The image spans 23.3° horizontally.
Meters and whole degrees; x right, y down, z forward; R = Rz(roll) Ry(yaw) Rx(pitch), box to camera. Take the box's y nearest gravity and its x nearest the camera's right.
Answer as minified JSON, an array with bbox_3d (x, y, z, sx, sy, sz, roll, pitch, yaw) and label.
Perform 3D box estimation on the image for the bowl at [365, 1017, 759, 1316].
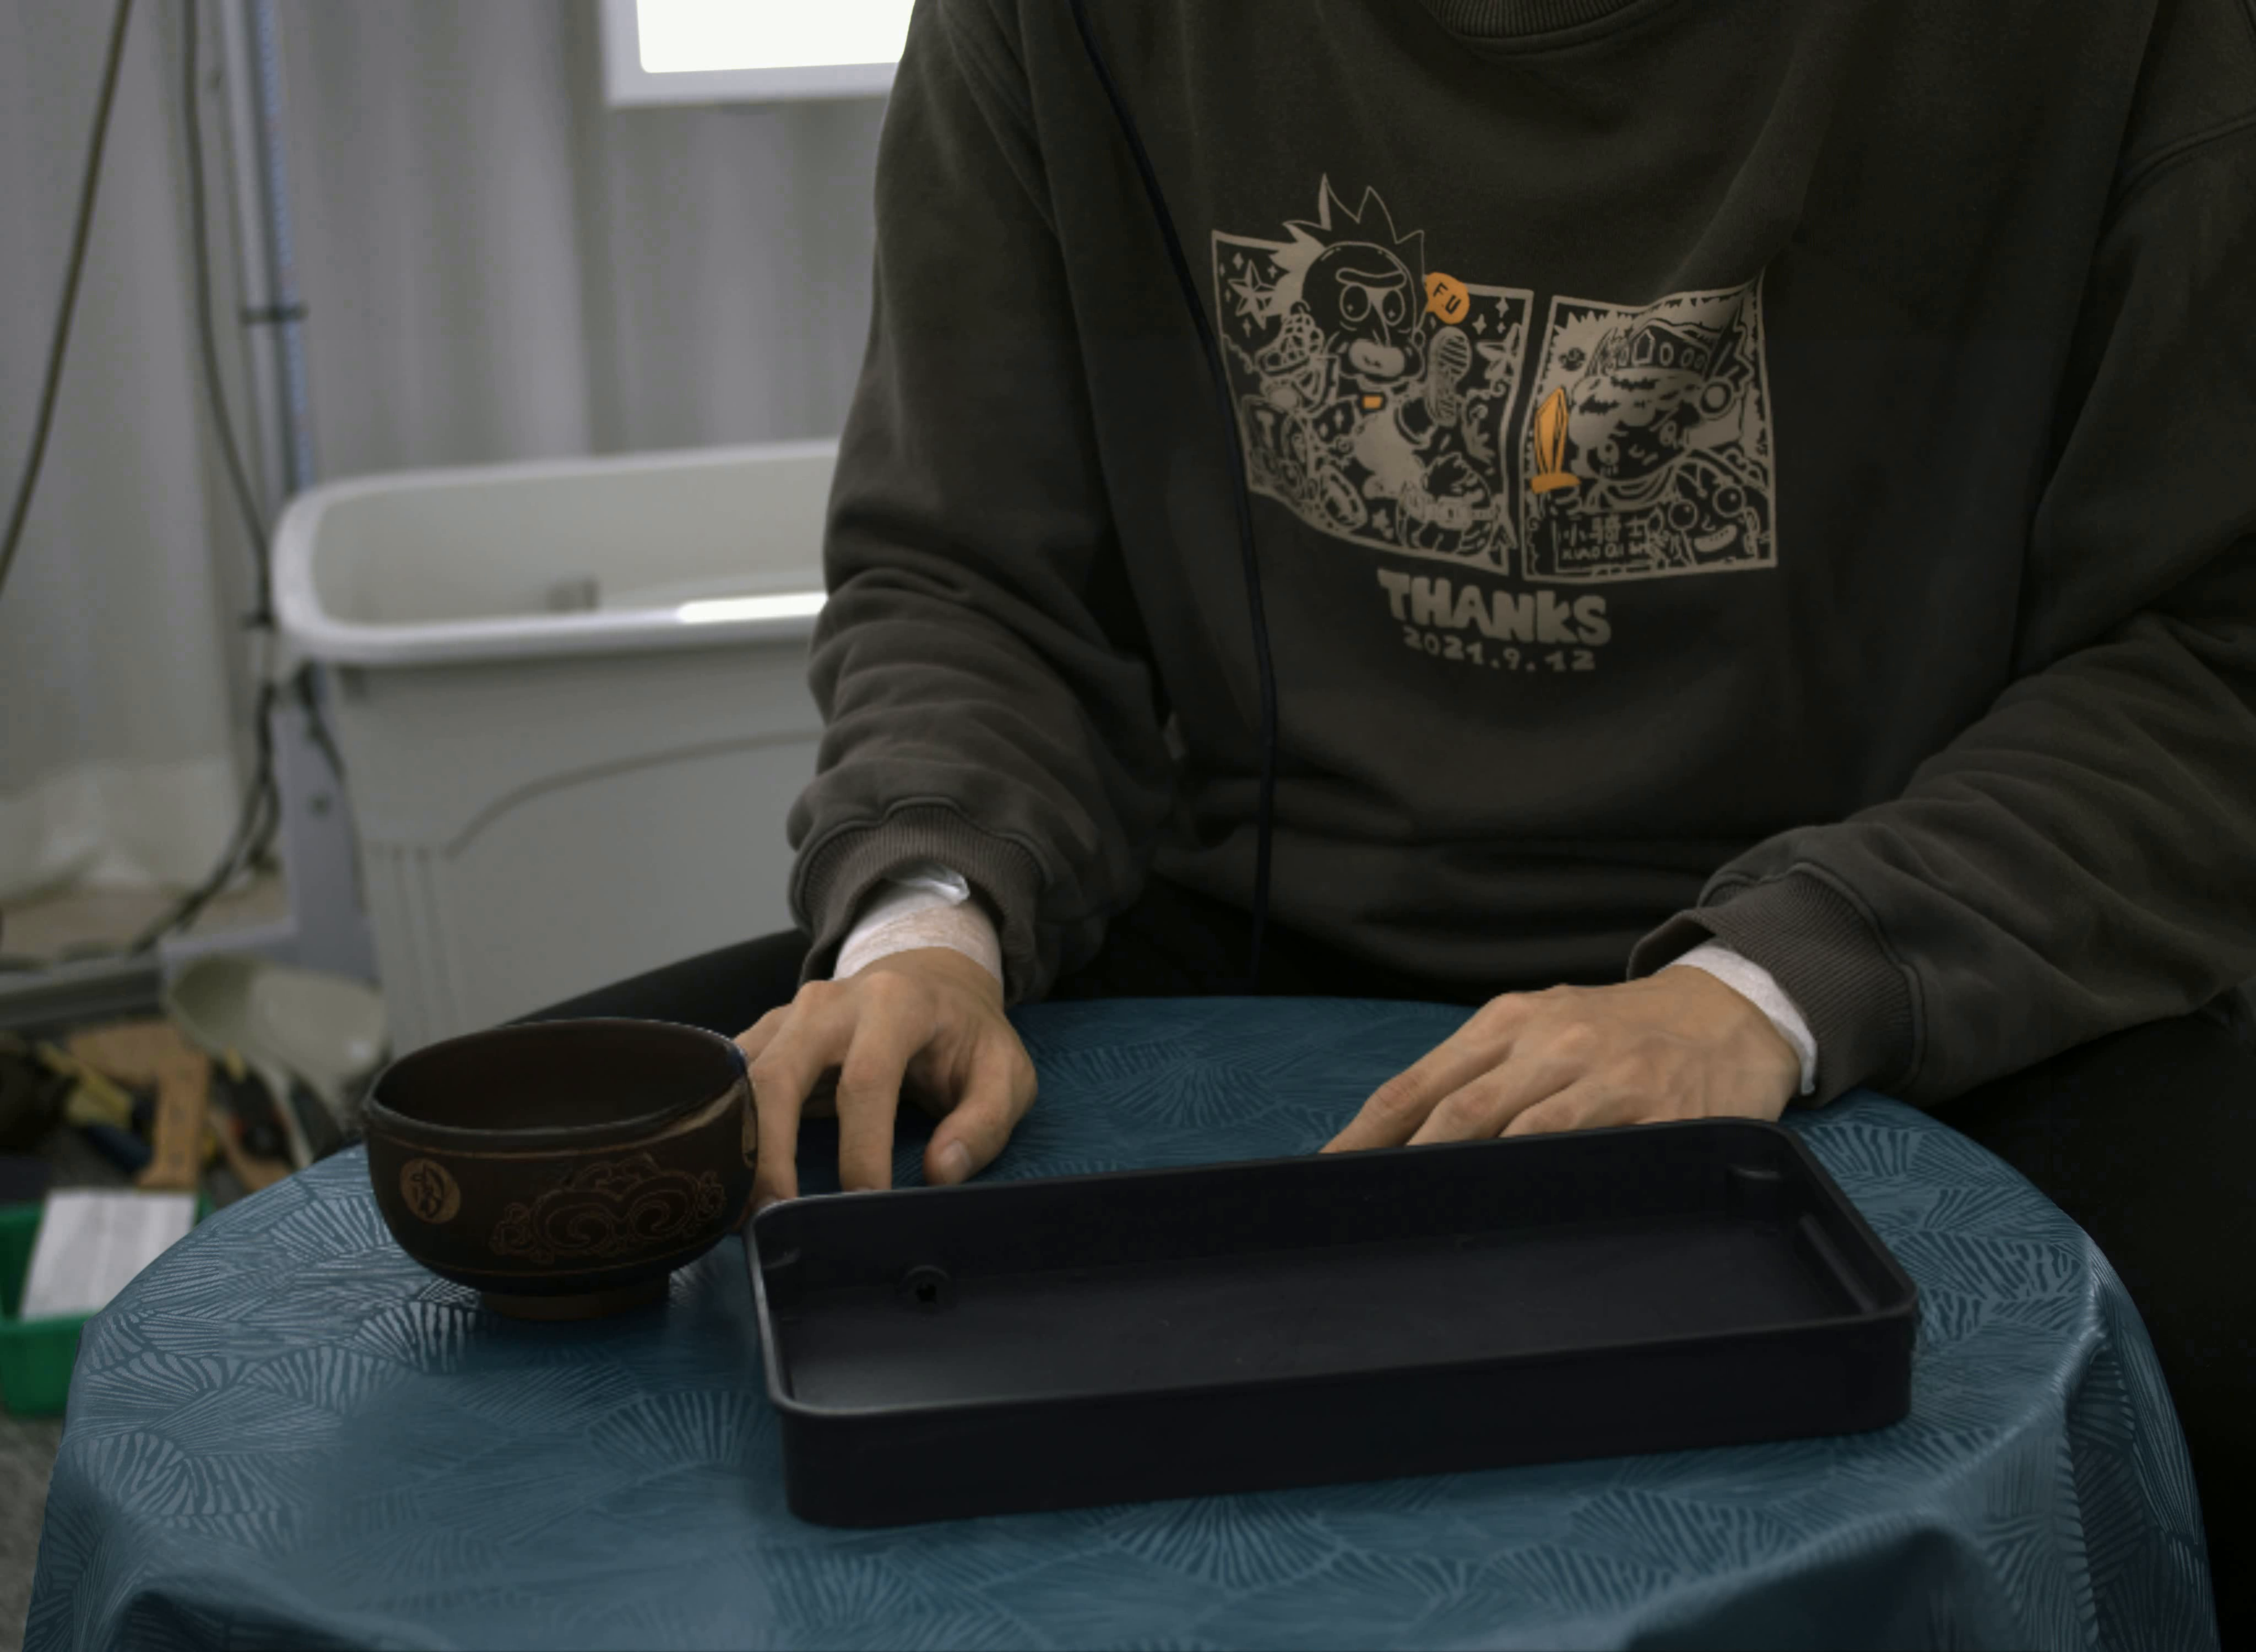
[{"bbox_3d":[-0.169,0.106,1.650,0.117,0.069,0.119,-2,13,0],"label":"bowl"}]

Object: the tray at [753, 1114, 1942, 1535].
[{"bbox_3d":[0.058,0.138,1.555,0.316,0.037,0.185,-5,15,-8],"label":"tray"}]
